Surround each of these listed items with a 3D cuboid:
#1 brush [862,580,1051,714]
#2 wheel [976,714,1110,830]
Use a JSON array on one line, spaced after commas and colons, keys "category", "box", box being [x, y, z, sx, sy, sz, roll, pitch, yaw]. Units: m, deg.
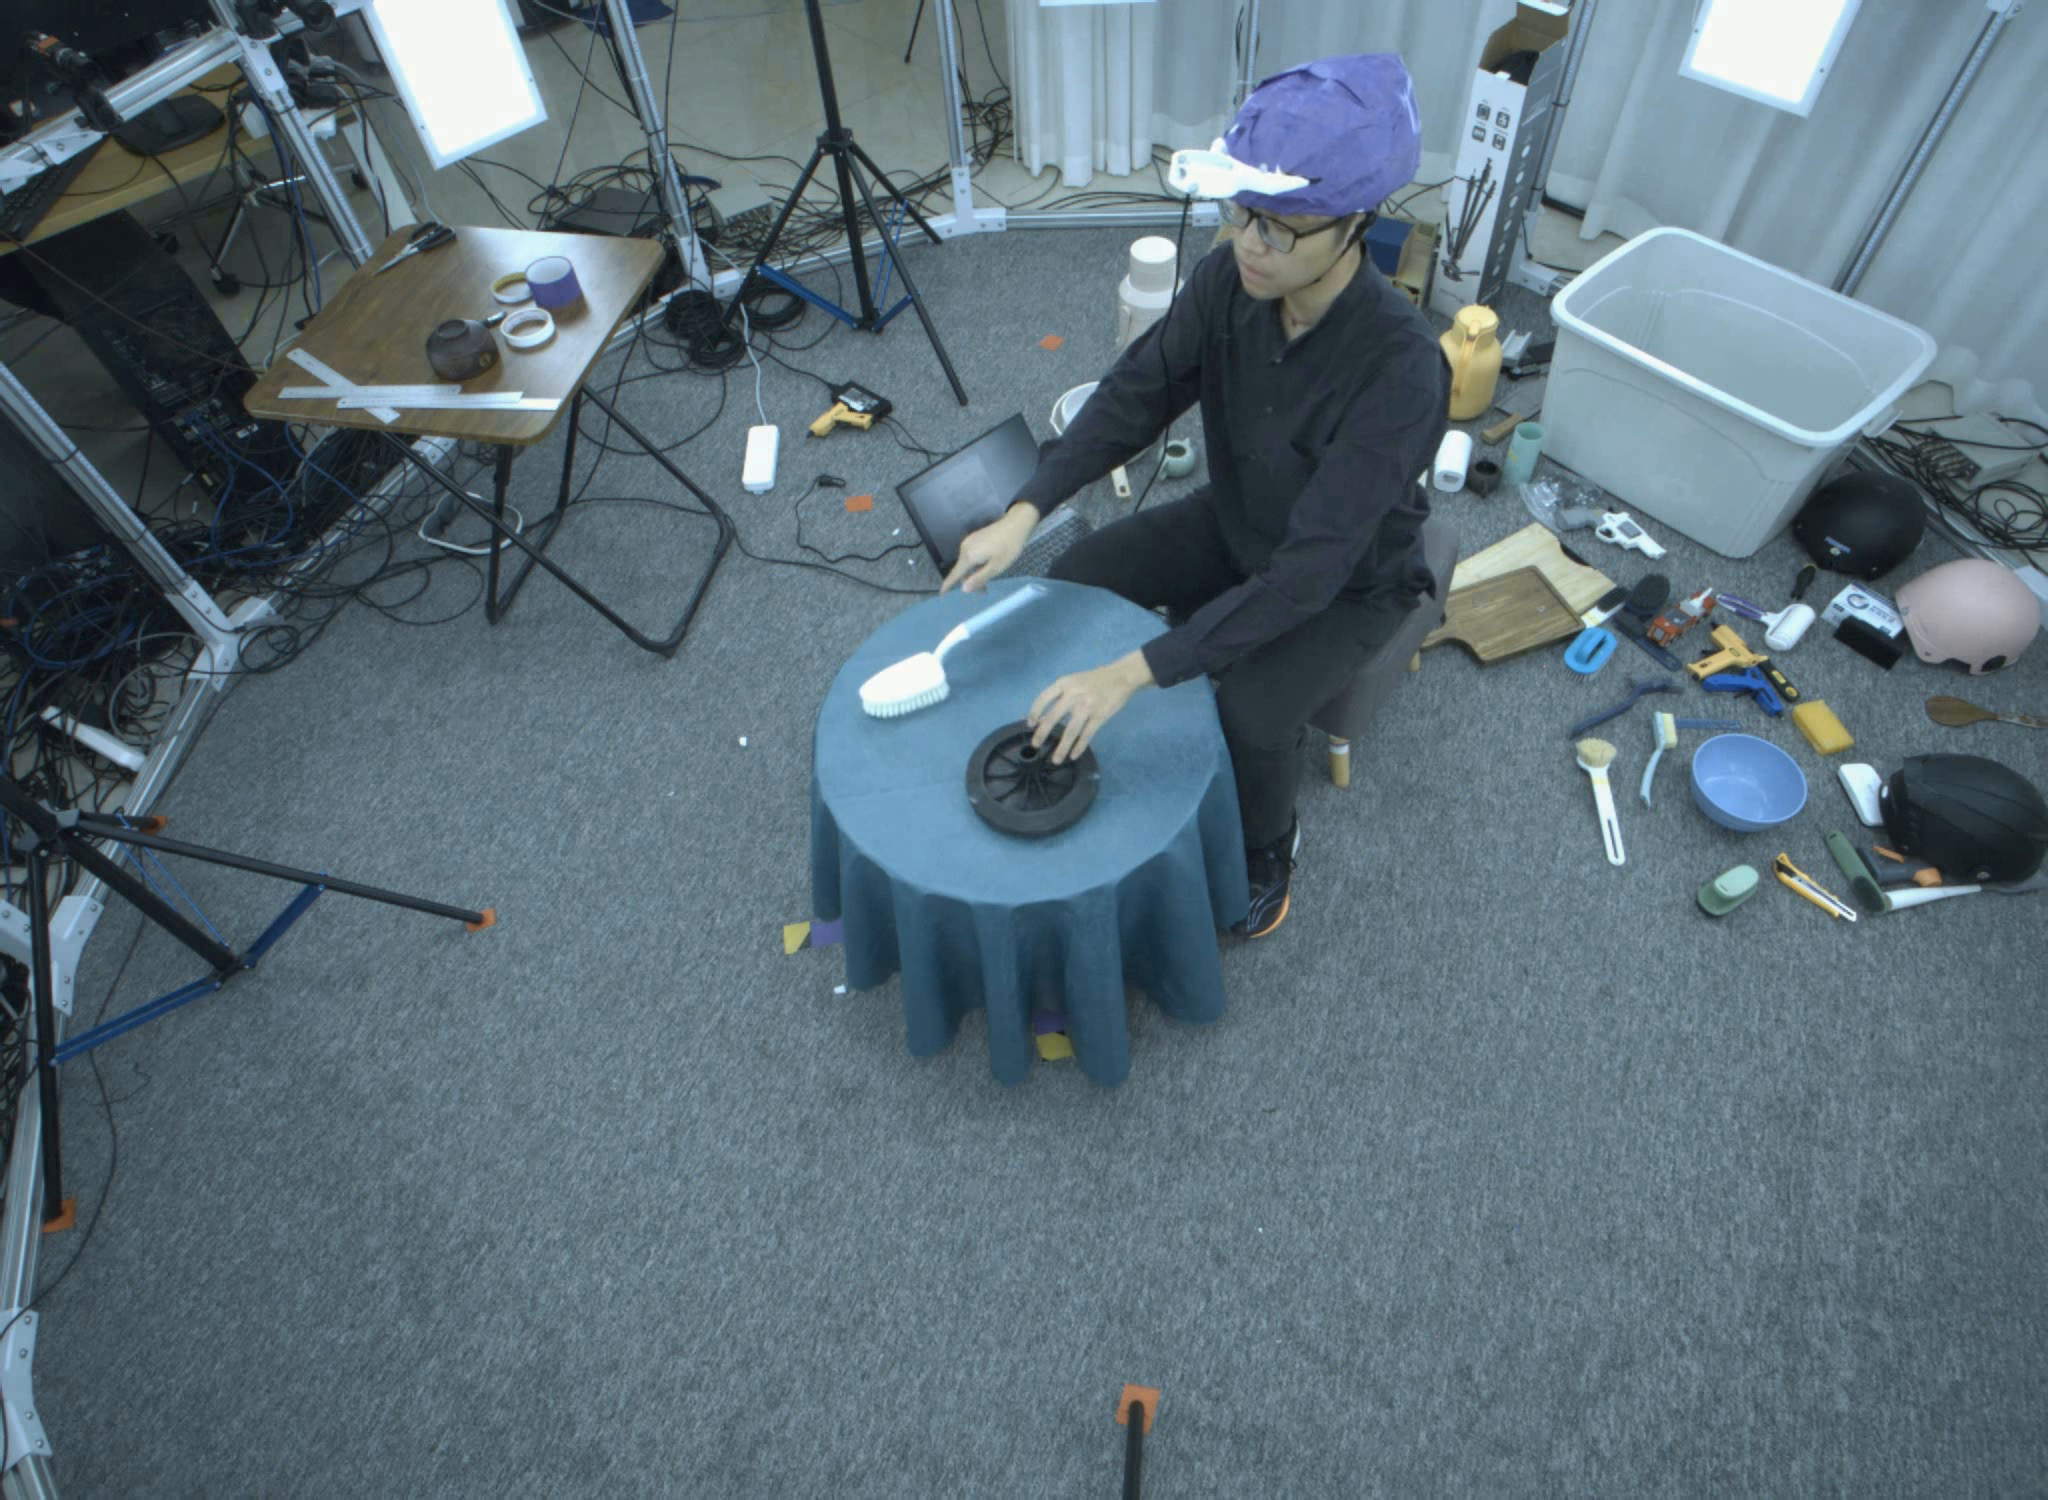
[{"category": "brush", "box": [-0.092, -0.145, 1.841, 0.326, 0.084, 0.083, -31, 94, -4]}, {"category": "wheel", "box": [0.024, 0.017, 1.722, 0.188, 0.080, 0.186, -37, 61, -18]}]
